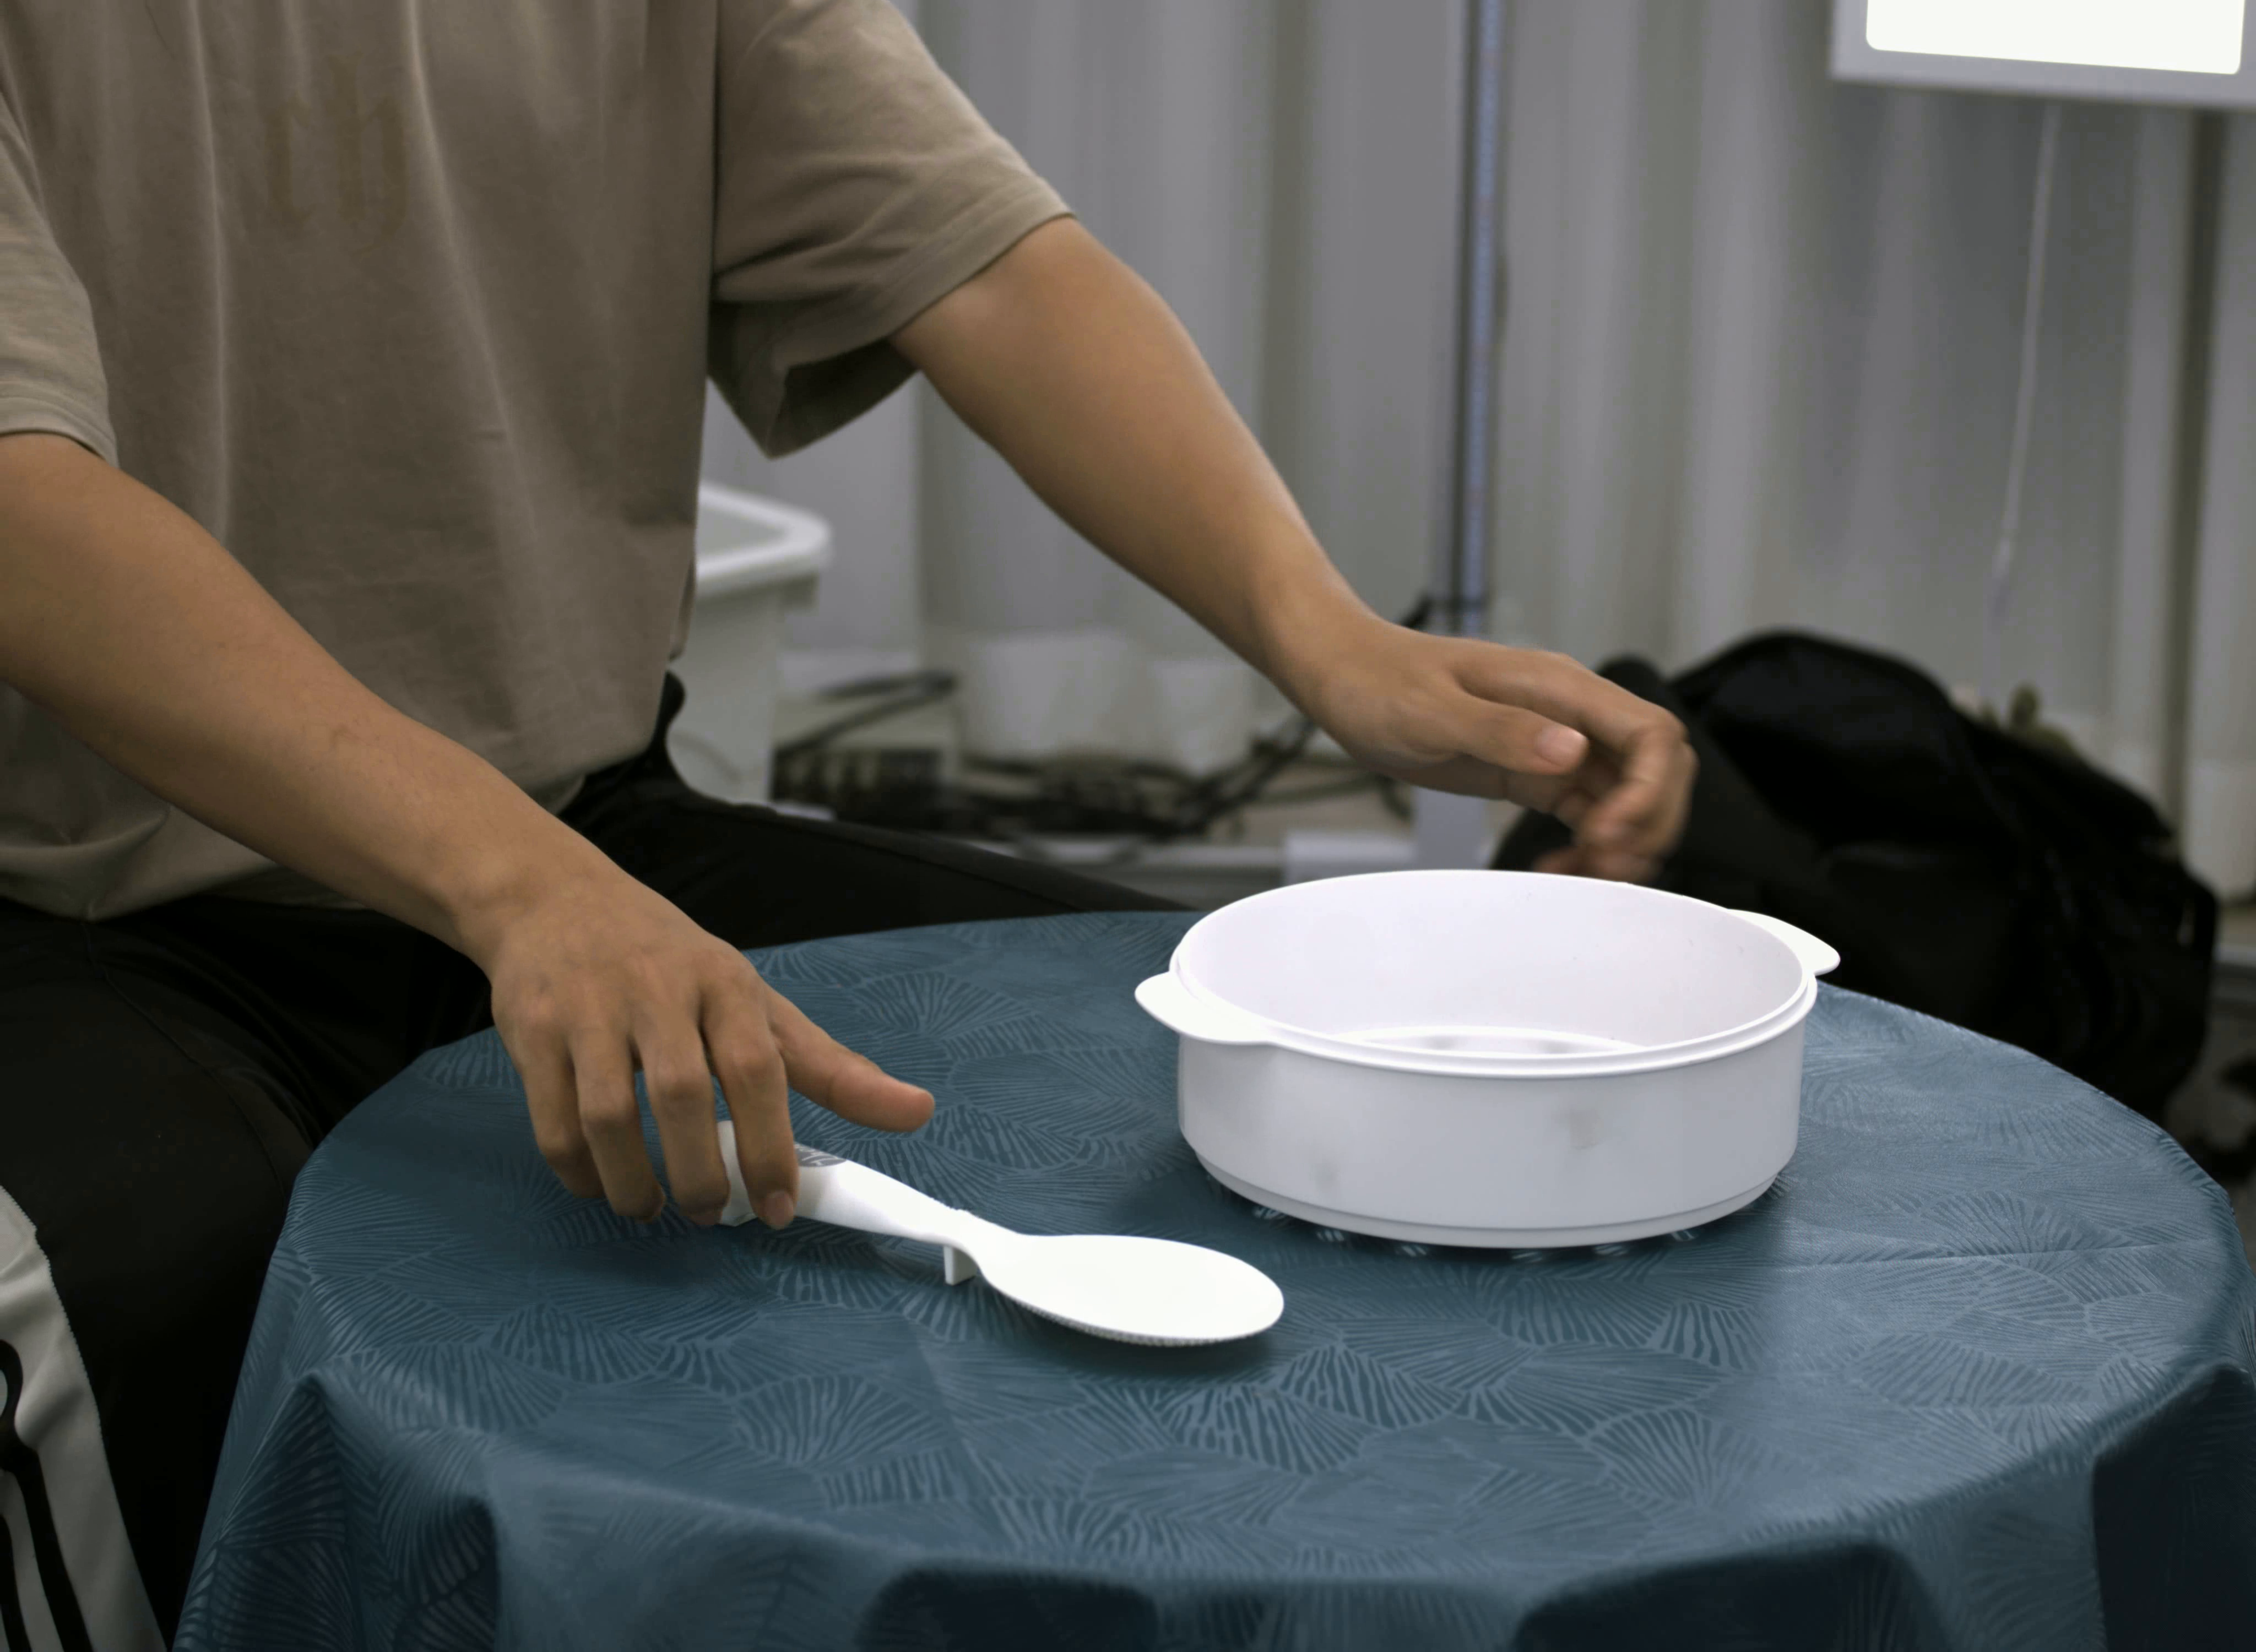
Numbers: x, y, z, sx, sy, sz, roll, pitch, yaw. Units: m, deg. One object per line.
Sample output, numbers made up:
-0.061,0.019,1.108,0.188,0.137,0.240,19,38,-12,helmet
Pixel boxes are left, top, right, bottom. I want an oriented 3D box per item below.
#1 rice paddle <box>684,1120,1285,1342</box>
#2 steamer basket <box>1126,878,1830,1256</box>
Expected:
-0.043,0.120,1.539,0.202,0.029,0.069,12,21,34,rice paddle
0.109,0.075,1.647,0.231,0.070,0.199,-4,17,-24,steamer basket
